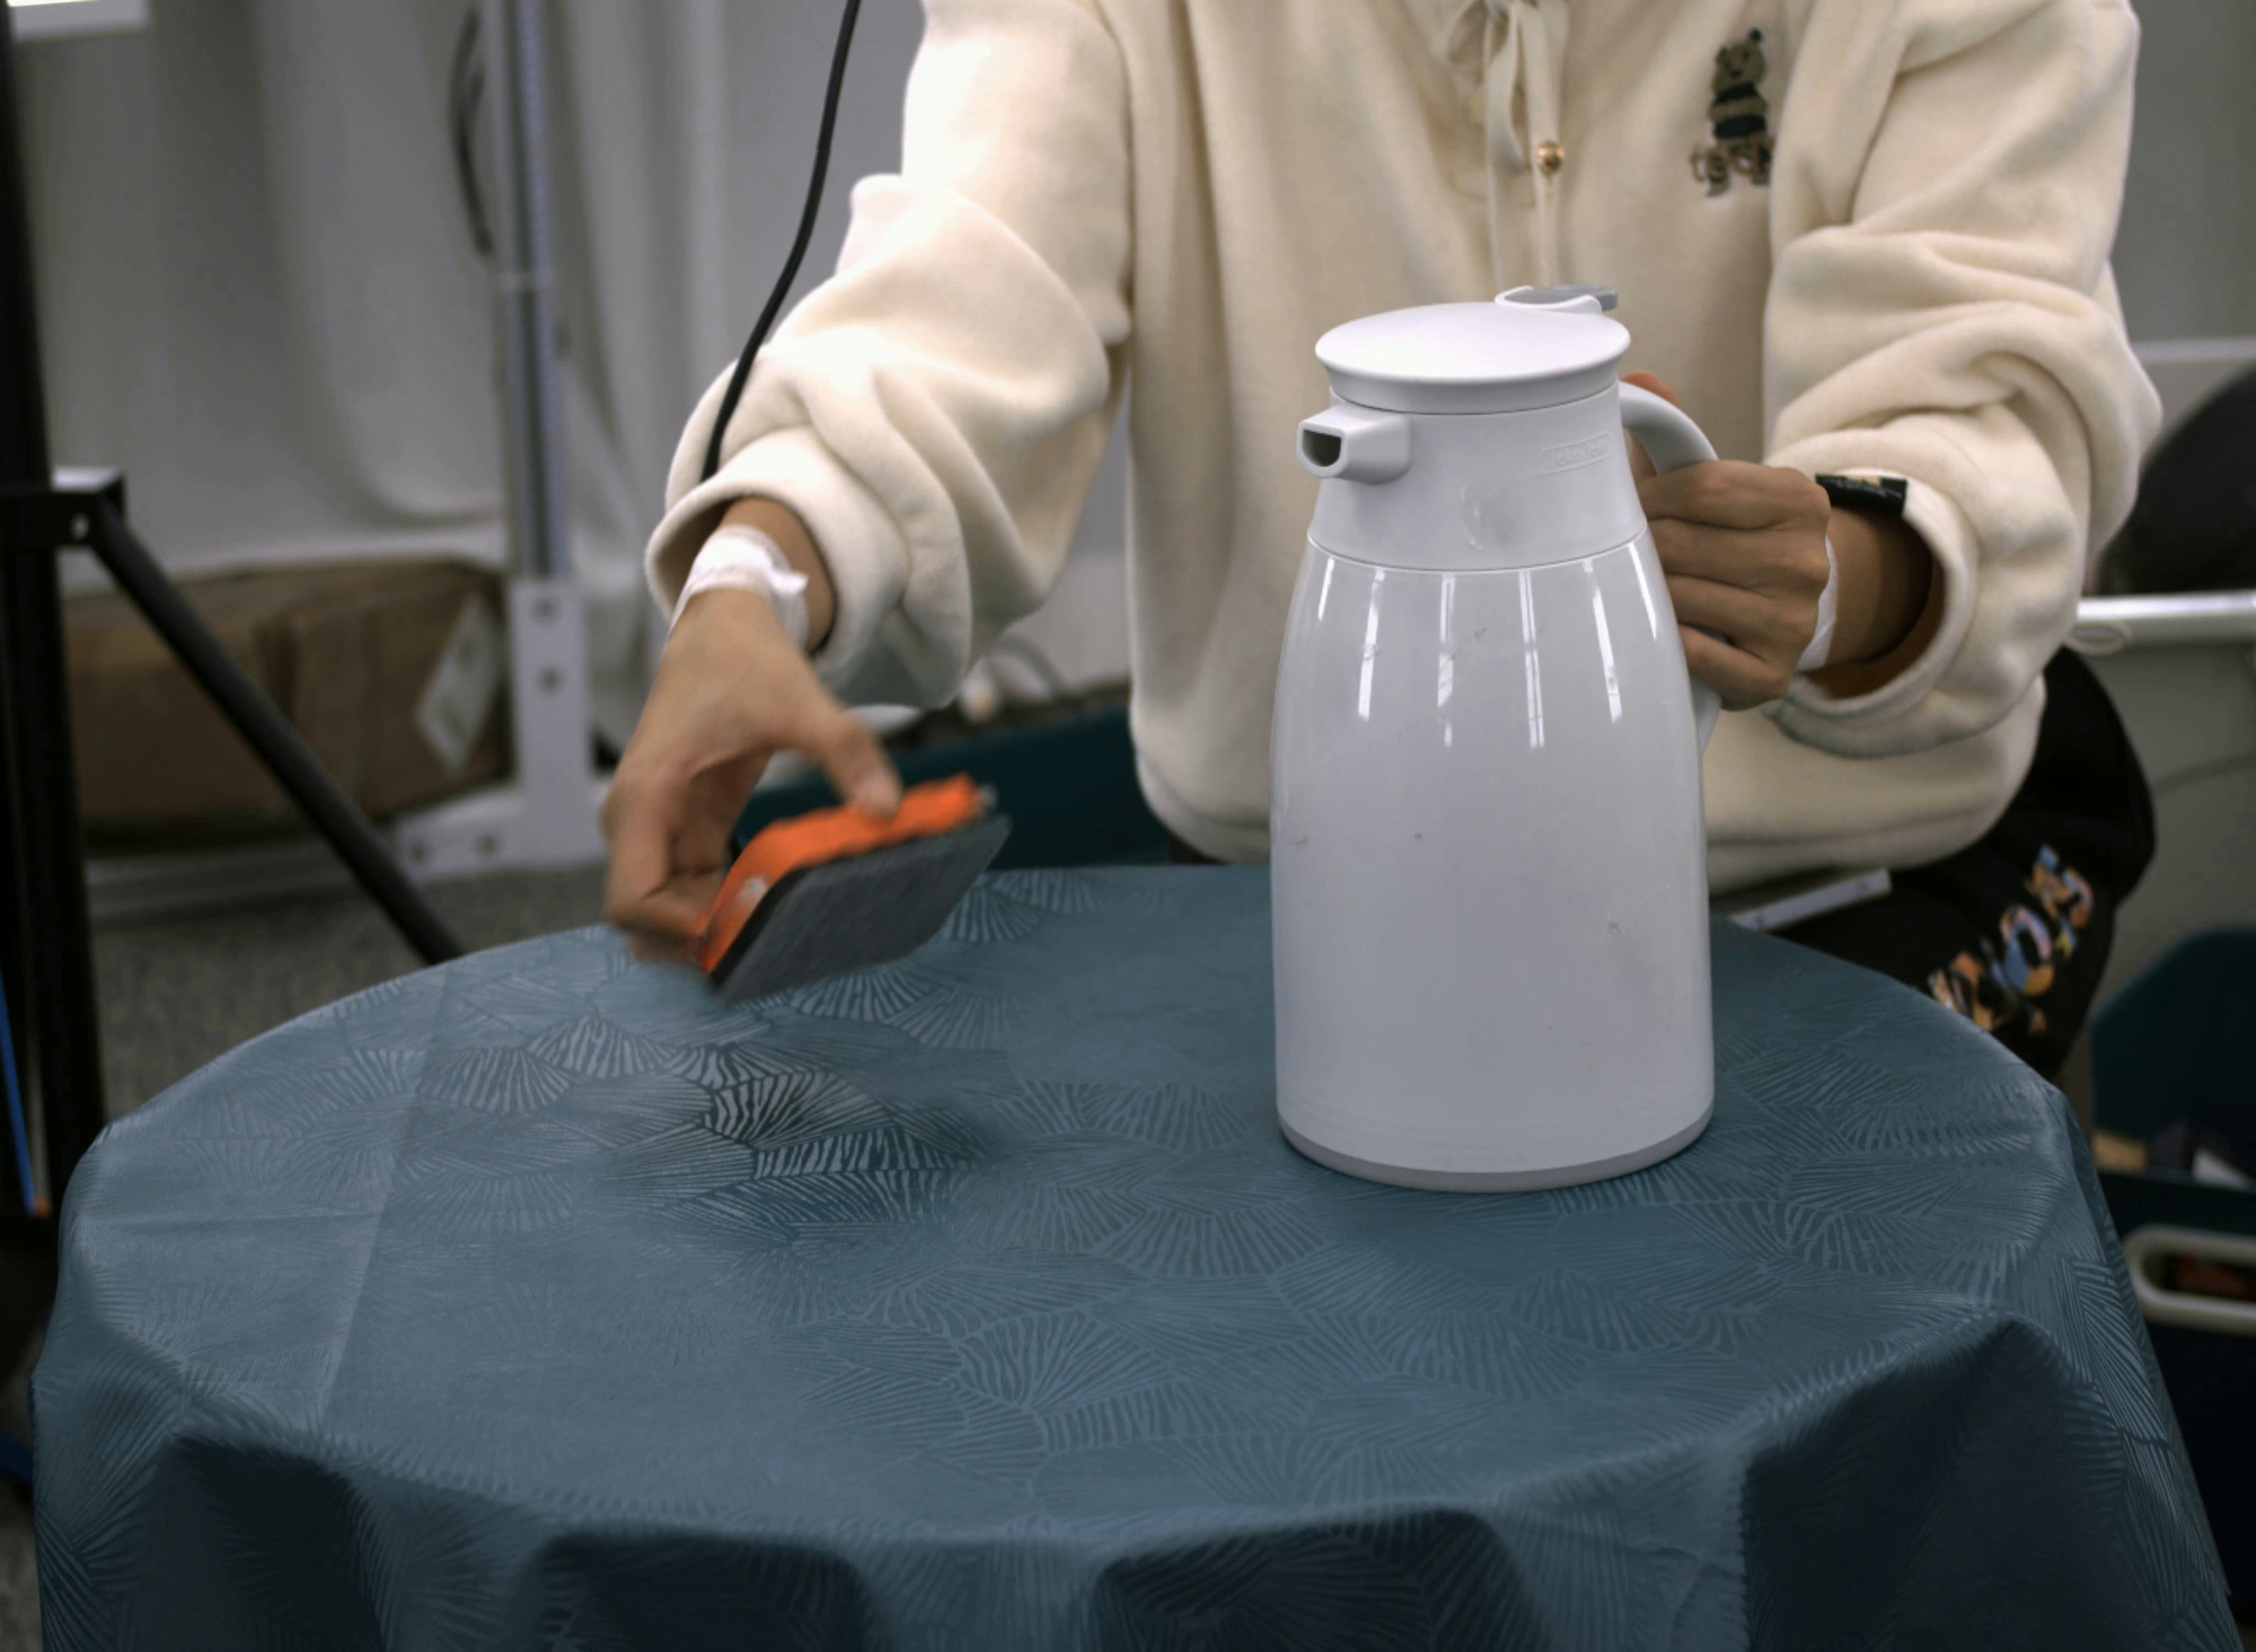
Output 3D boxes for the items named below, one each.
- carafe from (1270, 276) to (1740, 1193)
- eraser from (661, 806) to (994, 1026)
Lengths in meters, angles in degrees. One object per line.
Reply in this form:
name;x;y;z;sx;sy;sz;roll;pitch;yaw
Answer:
carafe;0.119;-0.035;1.578;0.164;0.248;0.135;-16;21;-39
eraser;-0.090;0.027;1.609;0.023;0.059;0.105;51;33;18
